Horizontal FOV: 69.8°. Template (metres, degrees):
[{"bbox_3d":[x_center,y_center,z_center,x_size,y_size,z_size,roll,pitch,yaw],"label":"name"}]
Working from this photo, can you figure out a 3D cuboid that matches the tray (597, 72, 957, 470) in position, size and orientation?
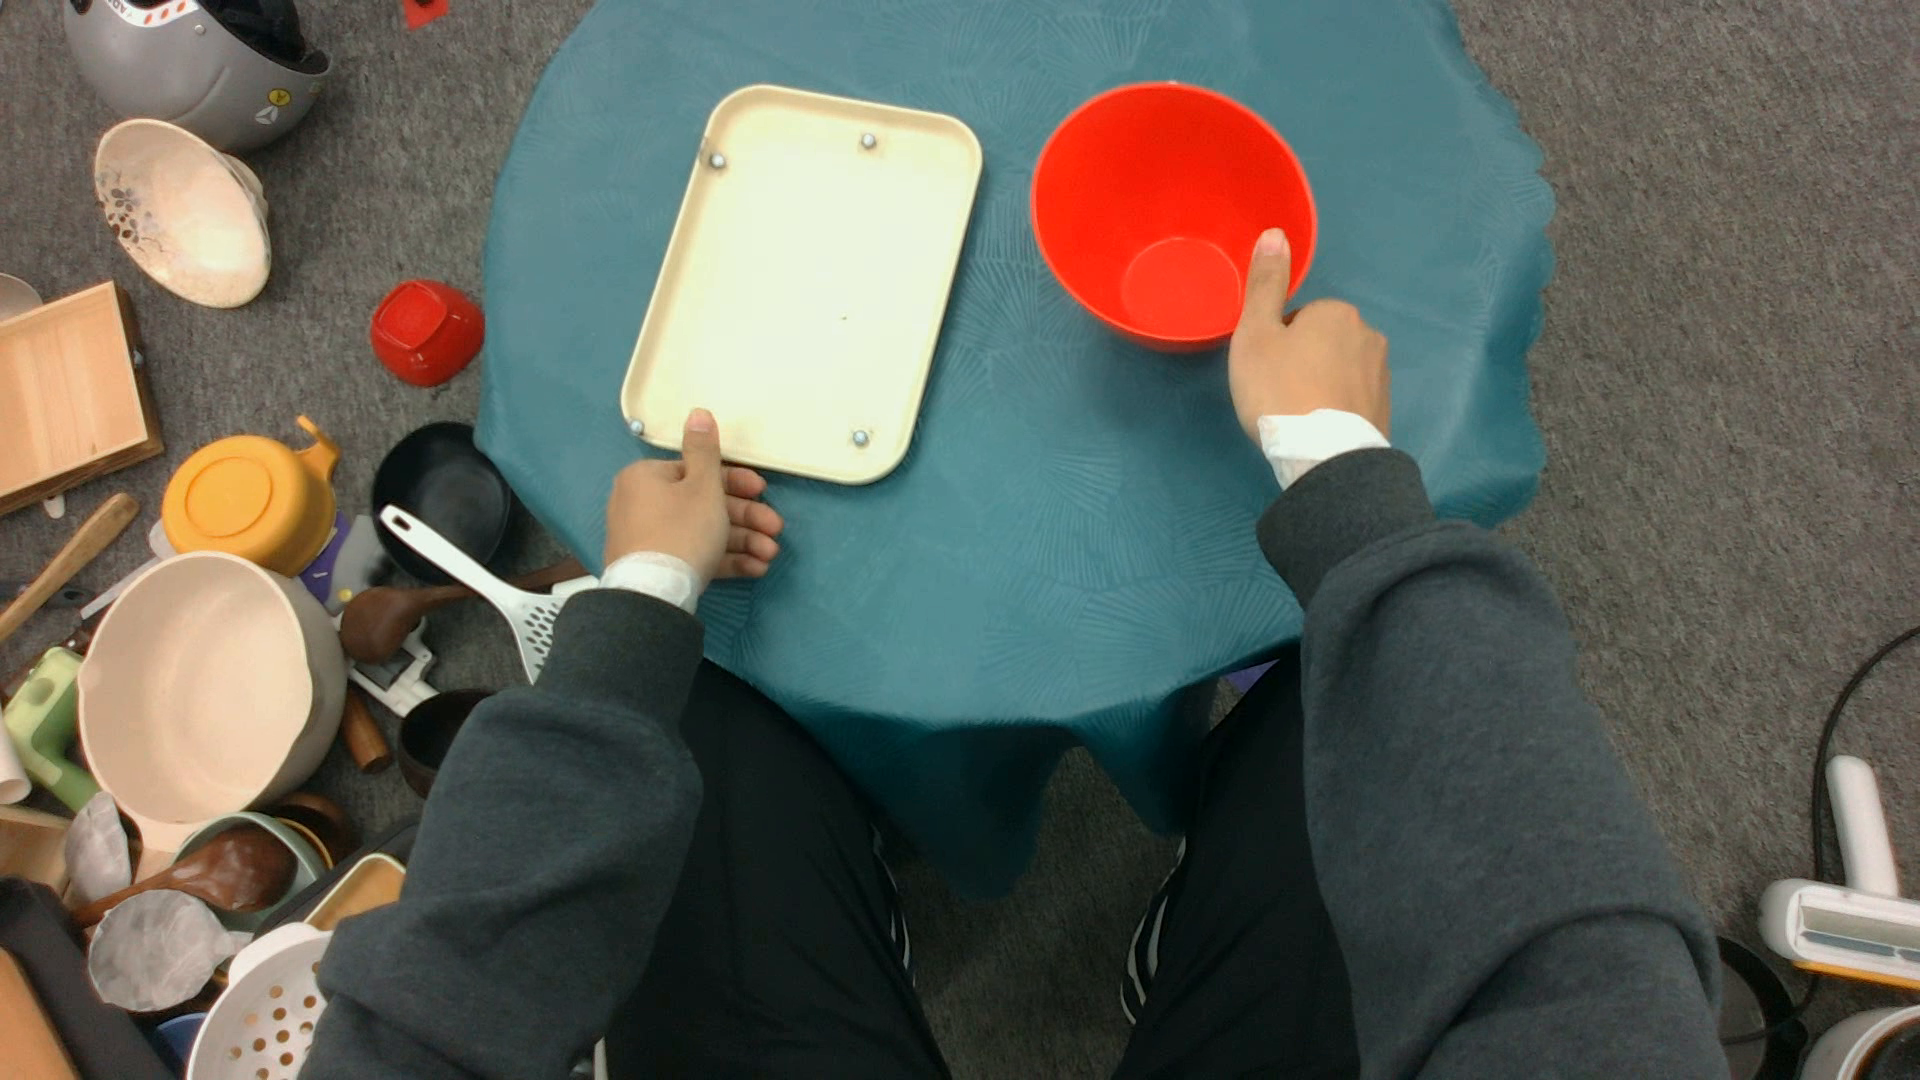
[{"bbox_3d":[-0.103,-0.159,0.802,0.171,0.017,0.240,11,74,6],"label":"tray"}]

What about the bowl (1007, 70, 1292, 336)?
[{"bbox_3d":[0.101,-0.168,0.749,0.148,0.104,0.148,-1,71,4],"label":"bowl"}]
